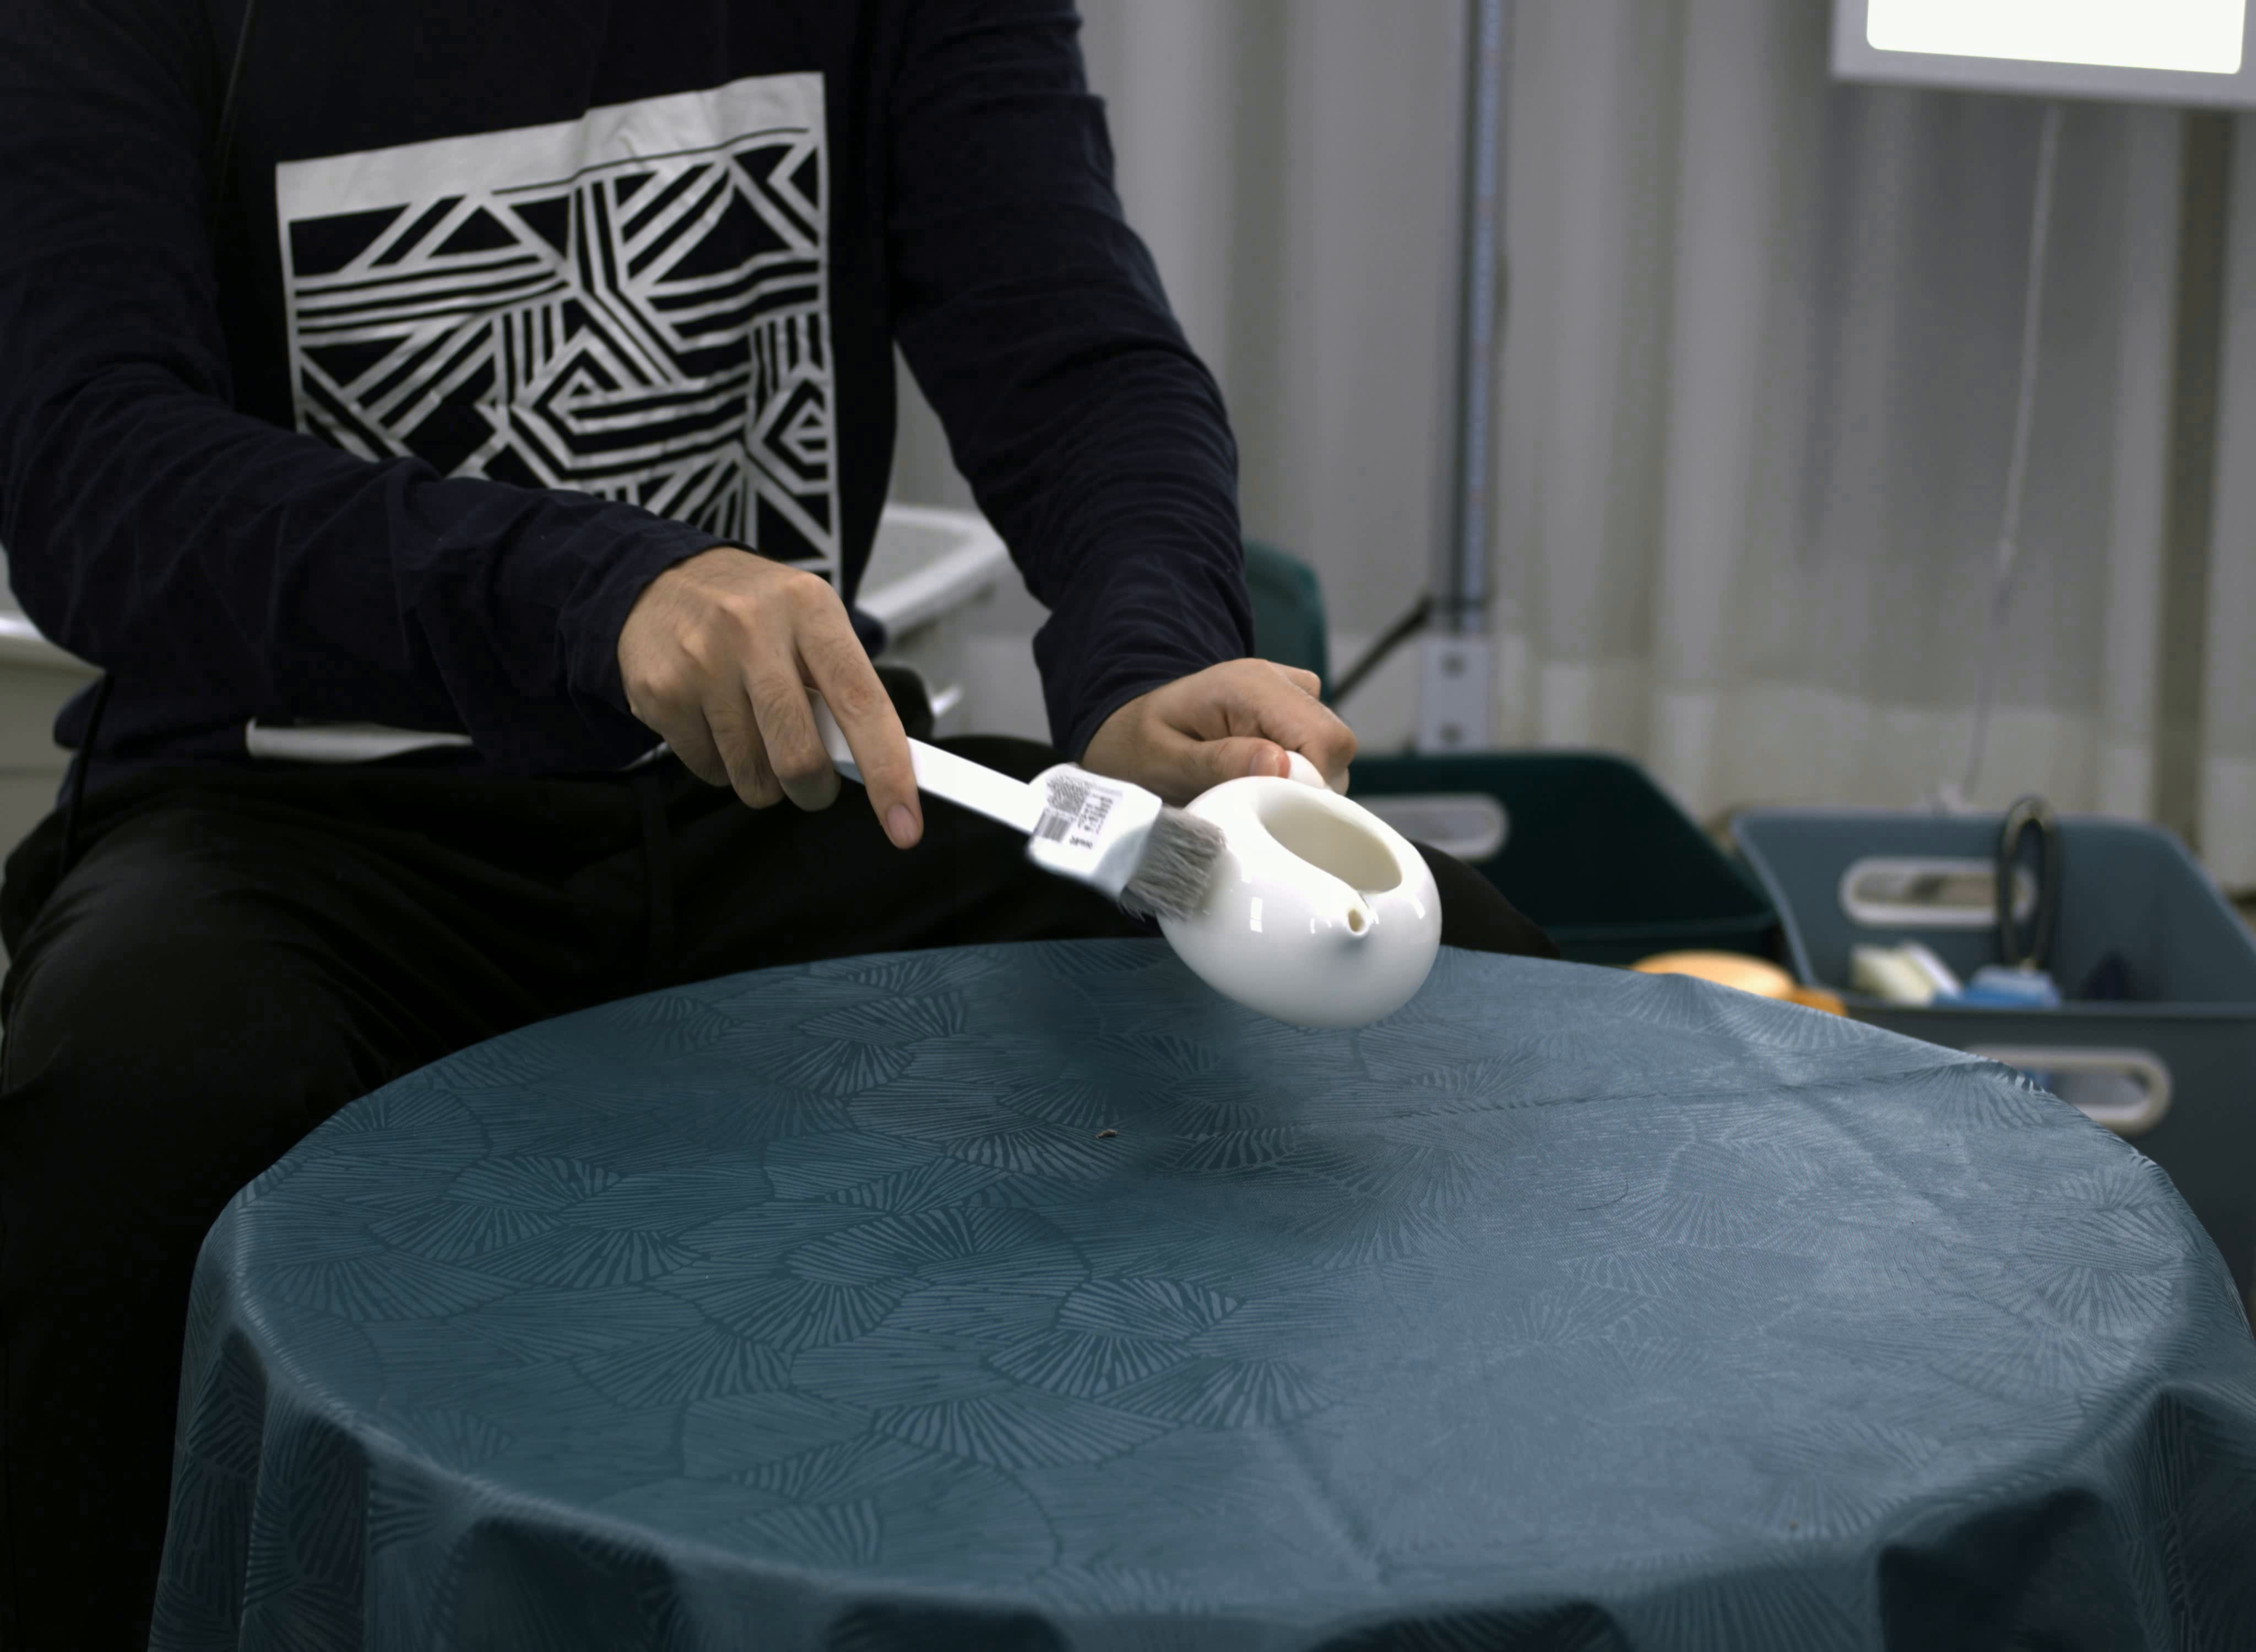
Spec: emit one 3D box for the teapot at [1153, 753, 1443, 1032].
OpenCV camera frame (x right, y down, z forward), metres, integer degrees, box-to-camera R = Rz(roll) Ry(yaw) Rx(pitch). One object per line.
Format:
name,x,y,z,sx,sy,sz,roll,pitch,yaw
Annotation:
teapot,0.051,0.020,1.657,0.094,0.057,0.126,11,27,-22

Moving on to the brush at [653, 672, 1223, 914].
brush,-0.061,-0.012,1.676,0.240,0.034,0.051,16,-7,45
